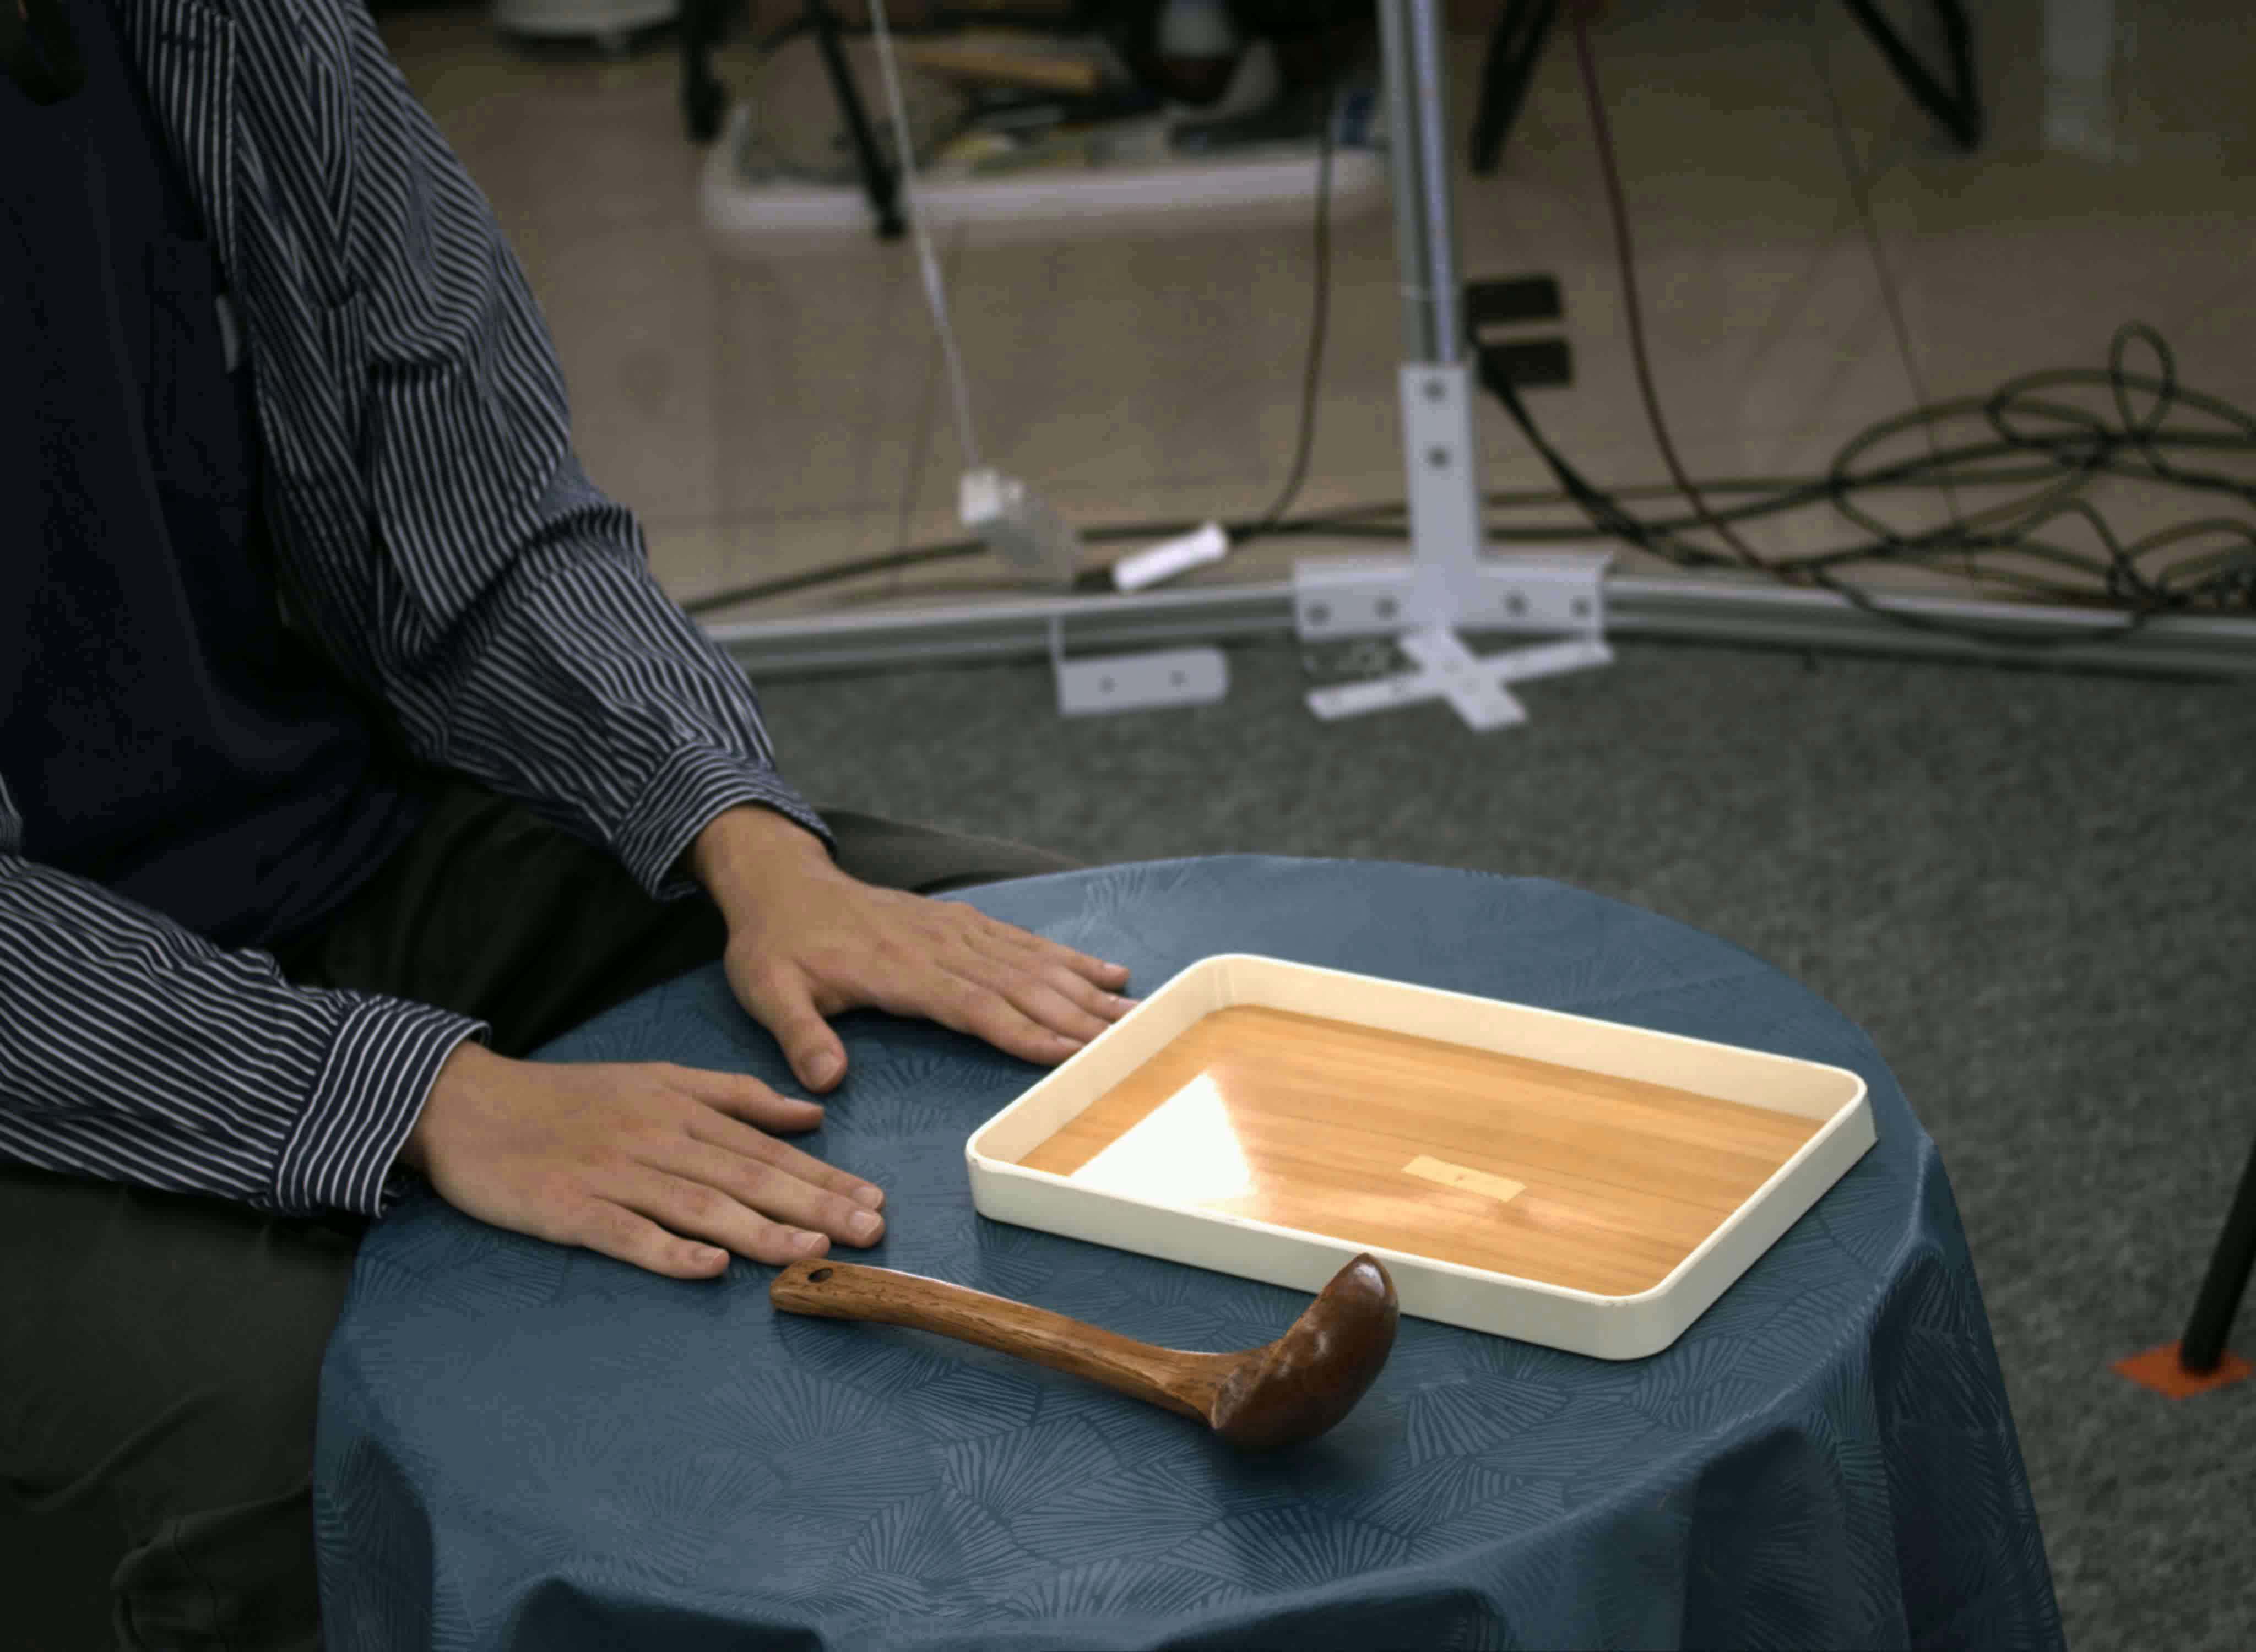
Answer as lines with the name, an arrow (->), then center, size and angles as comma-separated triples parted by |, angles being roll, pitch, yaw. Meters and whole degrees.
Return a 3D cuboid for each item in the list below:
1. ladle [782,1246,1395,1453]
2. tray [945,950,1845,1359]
ladle -> -0.024, 0.164, 2.012 | 0.272, 0.078, 0.081 | 14, 36, 36
tray -> 0.100, 0.119, 2.138 | 0.299, 0.028, 0.189 | 11, 30, 33
